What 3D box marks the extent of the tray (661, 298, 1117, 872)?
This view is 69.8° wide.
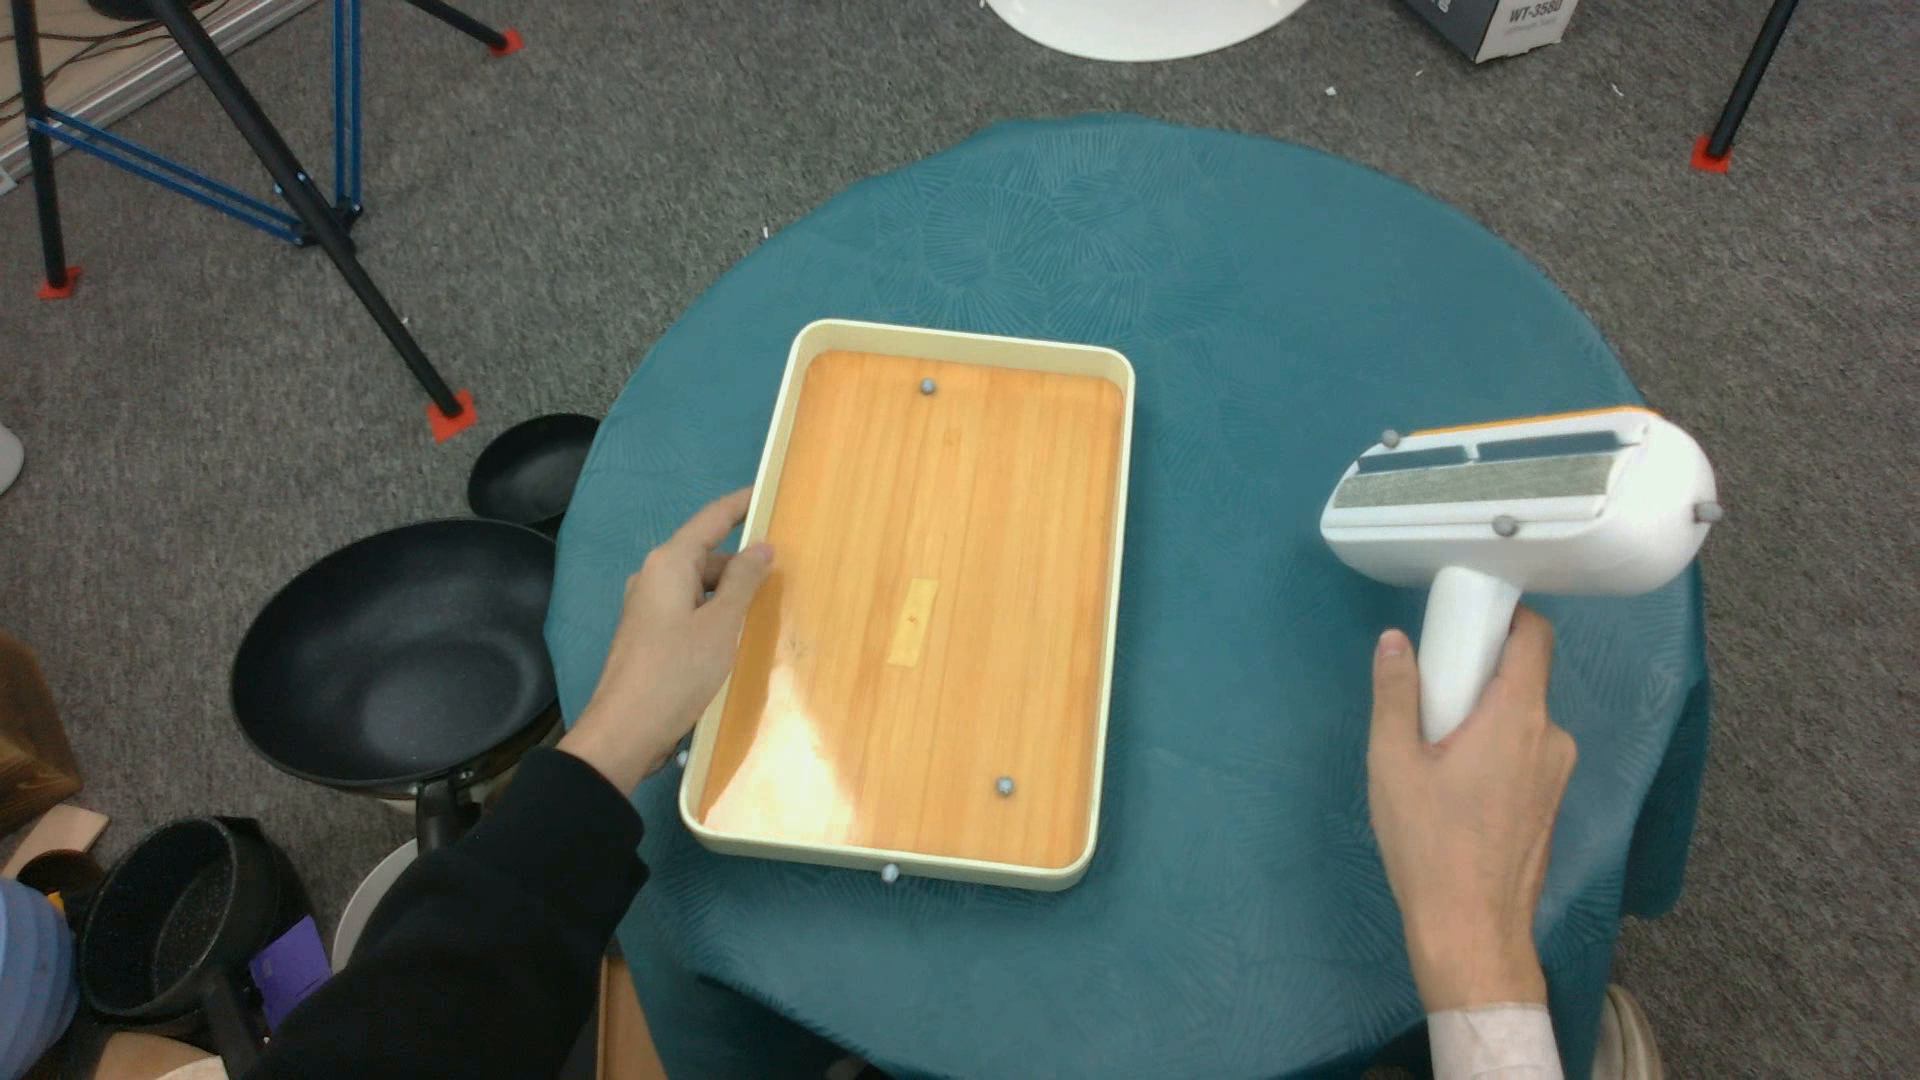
[{"bbox_3d":[-0.025,0.009,0.693,0.191,0.027,0.301,7,59,2],"label":"tray"}]

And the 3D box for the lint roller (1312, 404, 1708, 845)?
[{"bbox_3d":[0.207,0.034,0.587,0.074,0.192,0.192,28,84,-24],"label":"lint roller"}]
